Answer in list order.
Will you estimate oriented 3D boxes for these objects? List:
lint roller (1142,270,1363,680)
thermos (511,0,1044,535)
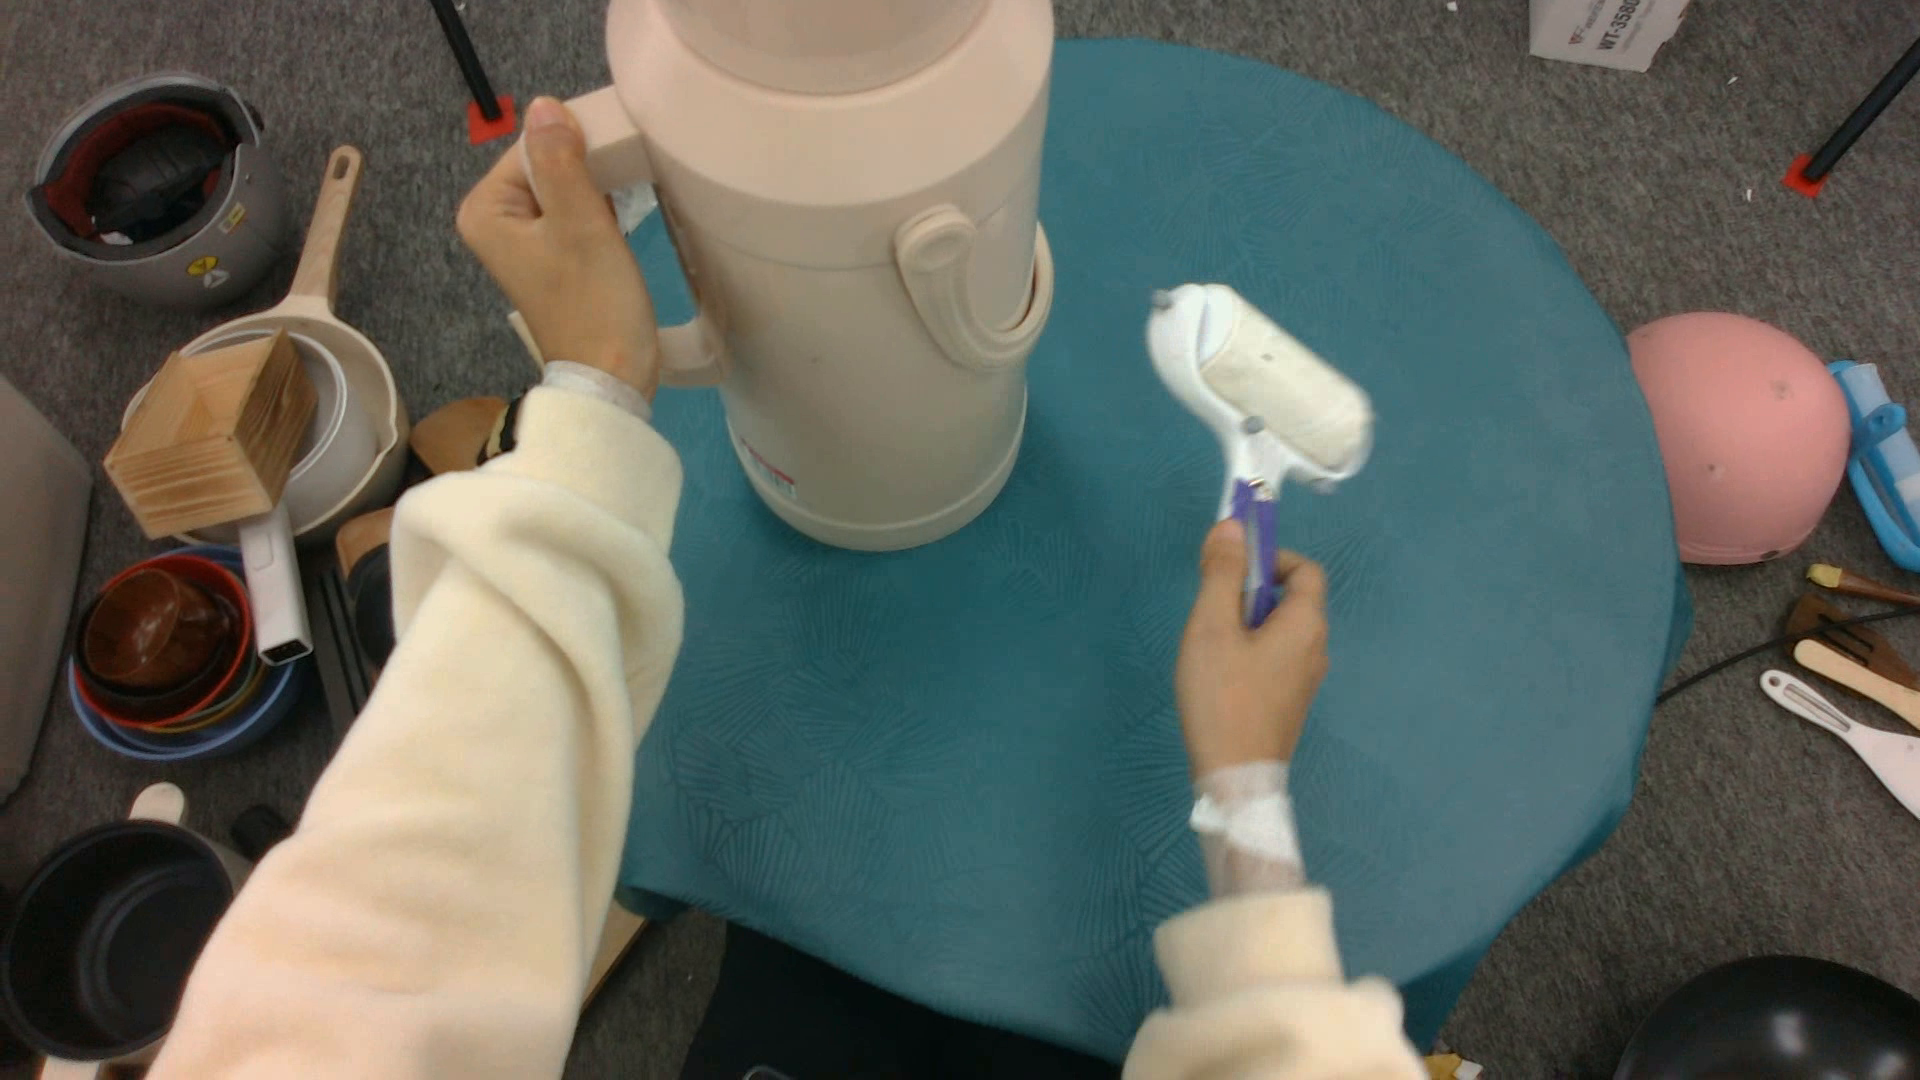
[{"bbox_3d":[0.131,-0.026,0.611,0.133,0.050,0.181,29,53,-31],"label":"lint roller"},{"bbox_3d":[-0.062,-0.147,0.572,0.207,0.405,0.175,-25,70,-11],"label":"thermos"}]
